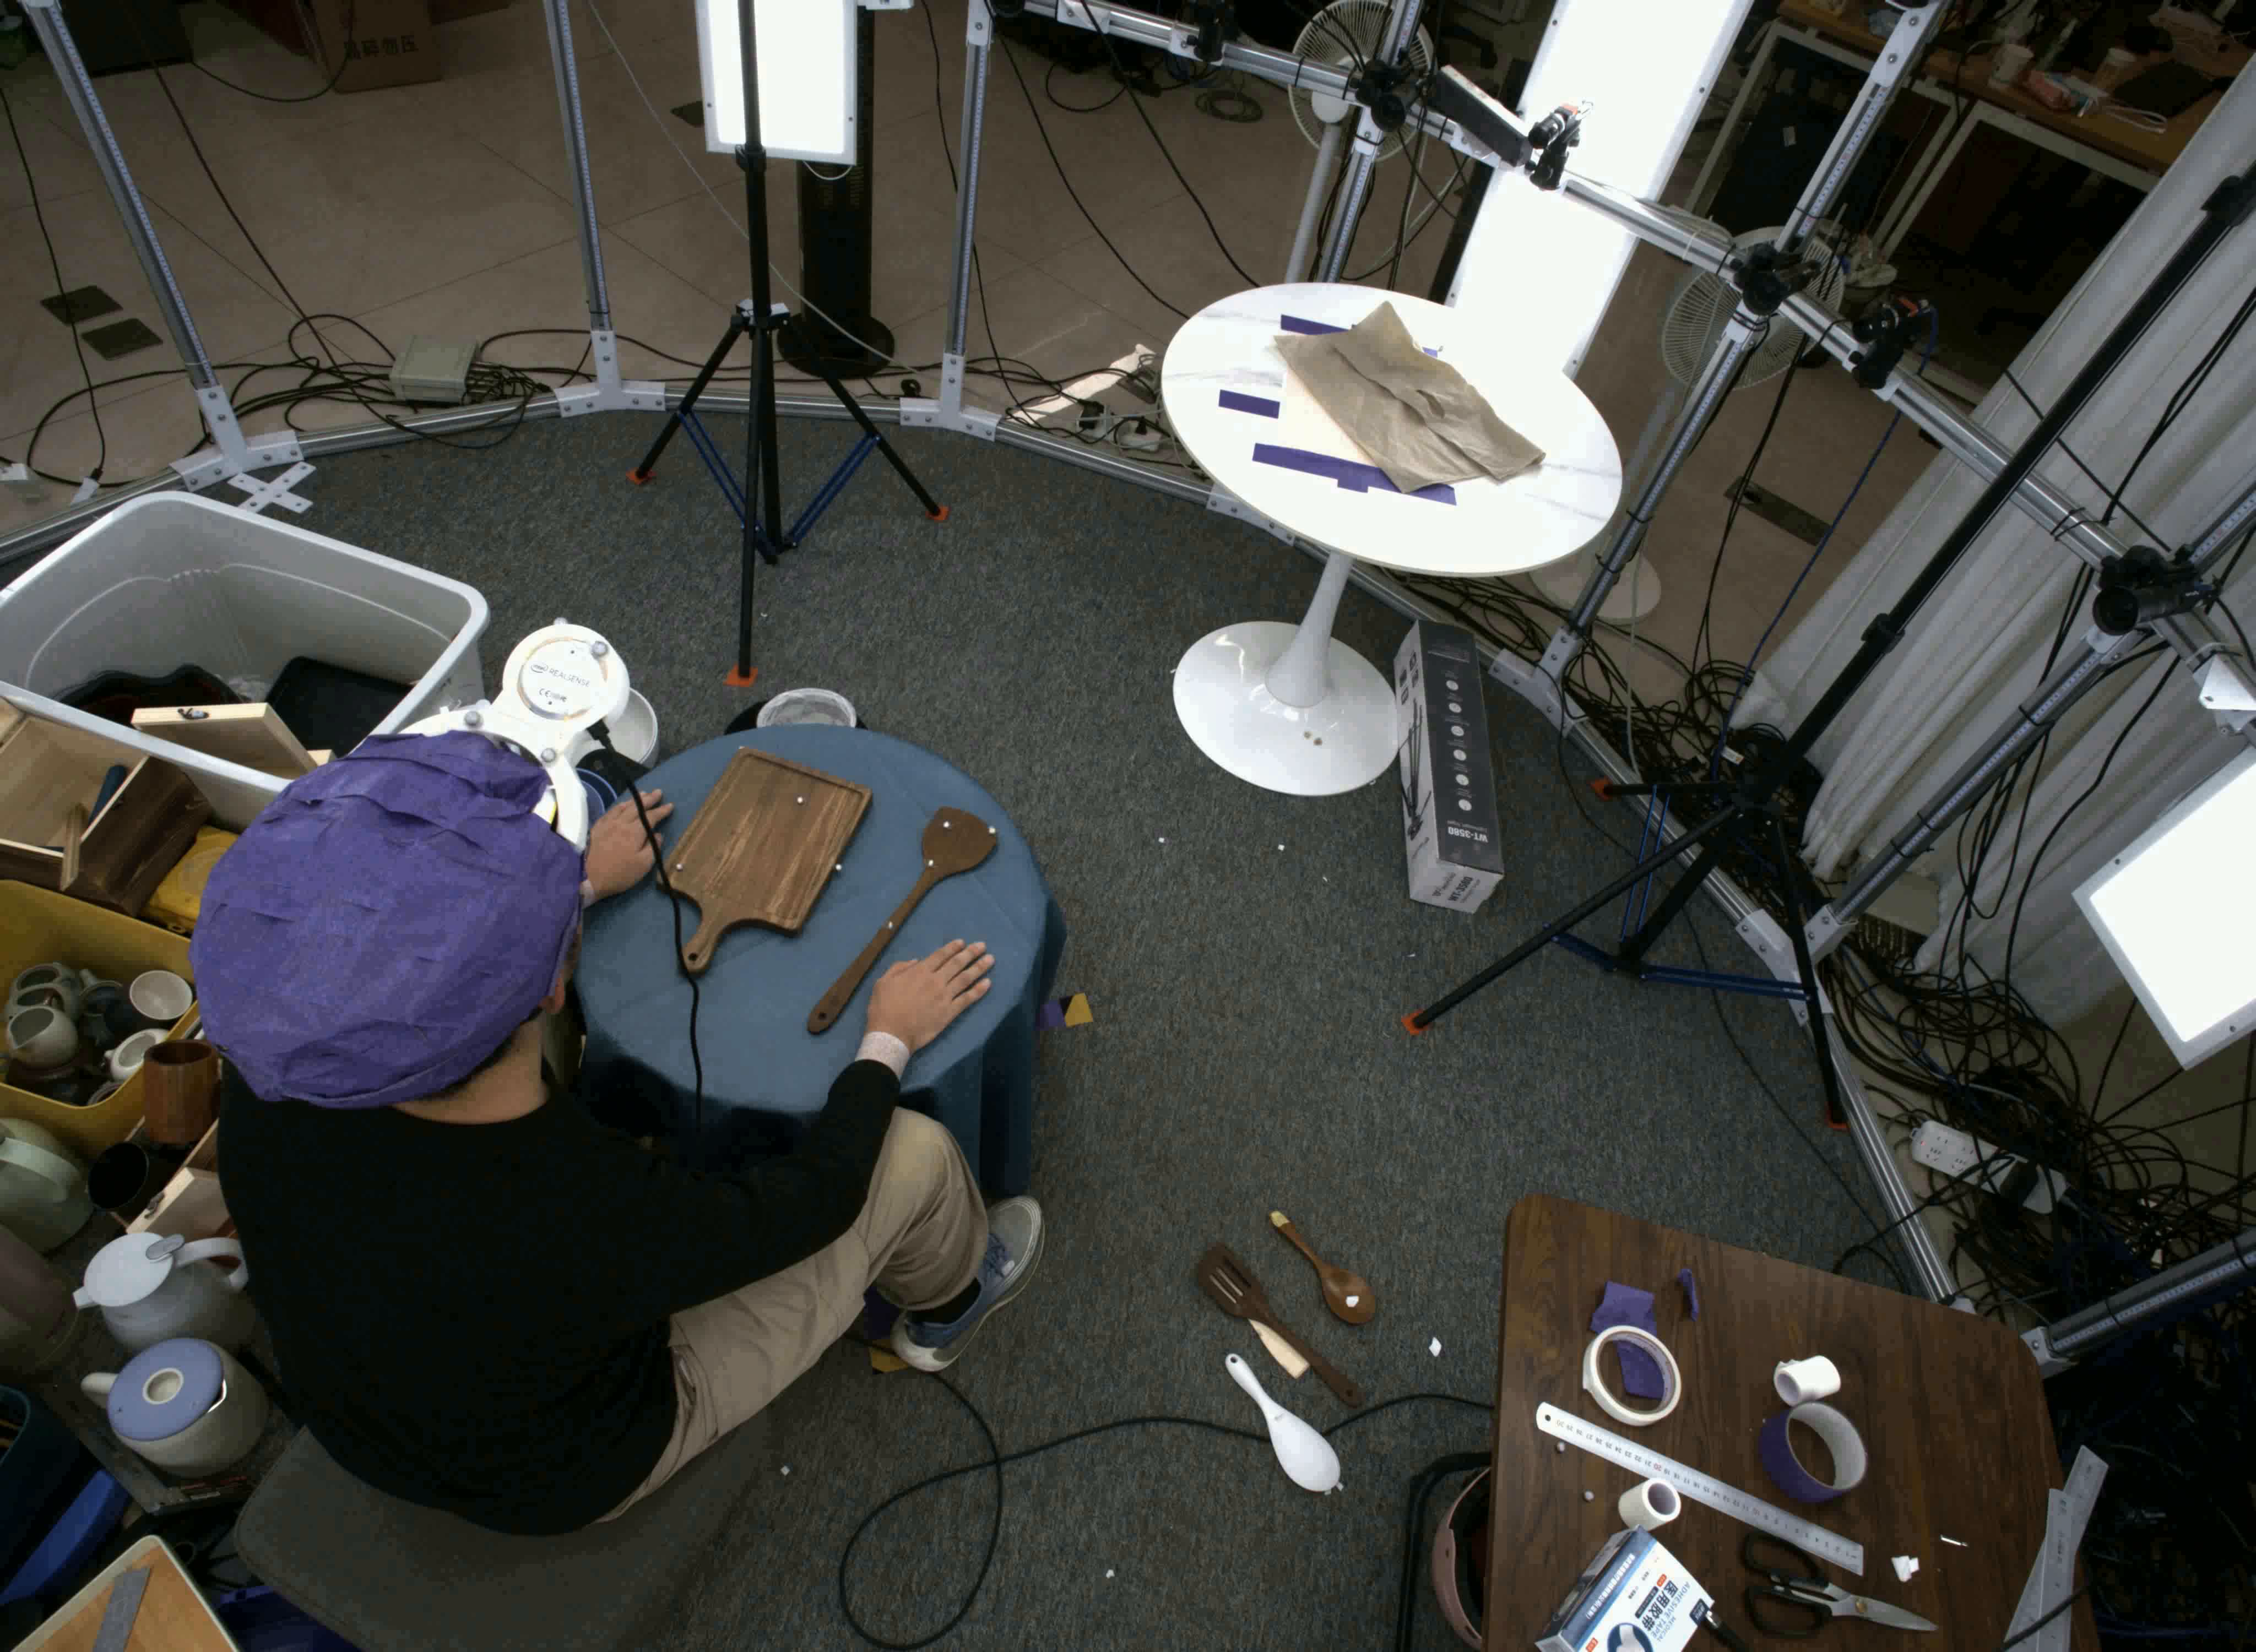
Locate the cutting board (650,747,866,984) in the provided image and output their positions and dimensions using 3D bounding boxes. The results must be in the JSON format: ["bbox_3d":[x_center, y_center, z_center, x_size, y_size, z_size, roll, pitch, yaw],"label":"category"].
[{"bbox_3d":[-0.489,0.051,1.650,0.199,0.023,0.348,19,52,0],"label":"cutting board"}]

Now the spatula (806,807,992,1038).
[{"bbox_3d":[-0.297,0.116,1.656,0.095,0.016,0.384,27,52,6],"label":"spatula"}]
